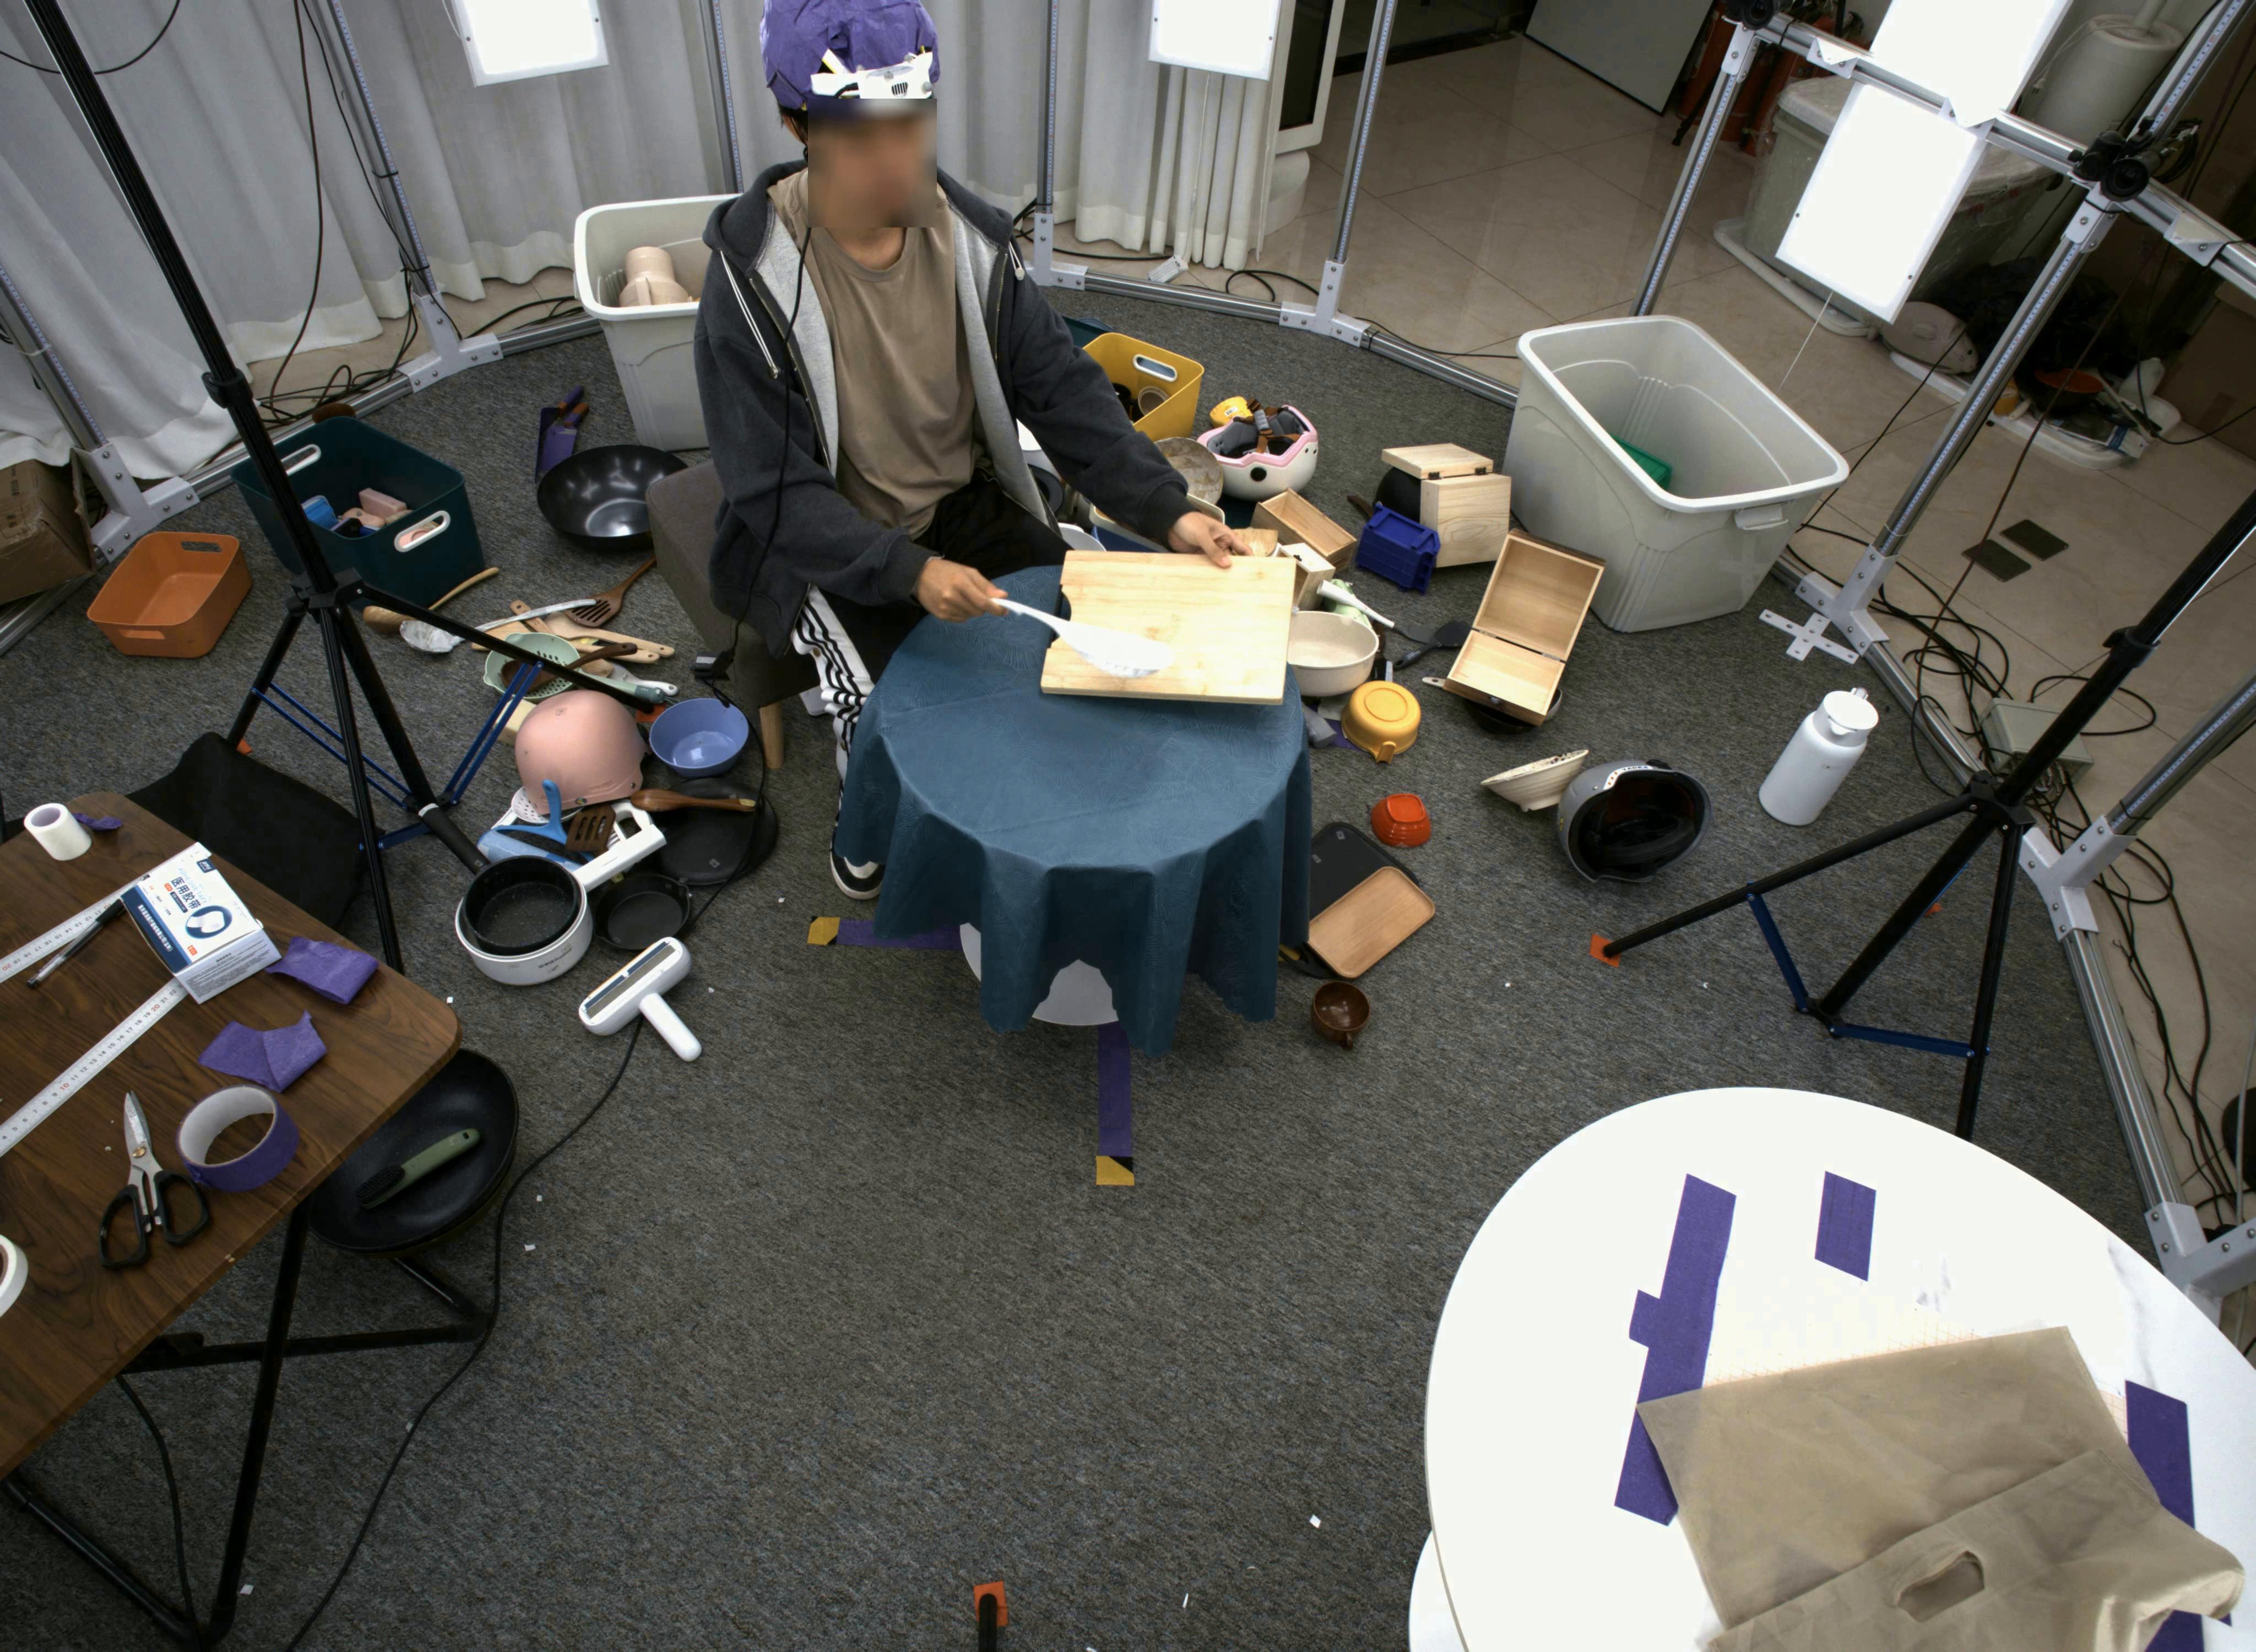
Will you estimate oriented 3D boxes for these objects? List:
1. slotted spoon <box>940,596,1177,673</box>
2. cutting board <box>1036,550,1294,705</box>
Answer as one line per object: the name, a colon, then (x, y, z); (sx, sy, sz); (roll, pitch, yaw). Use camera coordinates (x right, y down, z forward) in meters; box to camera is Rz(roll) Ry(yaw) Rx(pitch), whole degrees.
slotted spoon: (-0.100, -0.273, 1.749); (0.351, 0.049, 0.138); (25, 25, 18)
cutting board: (0.056, -0.289, 1.841); (0.349, 0.023, 0.256); (3, 62, 11)
